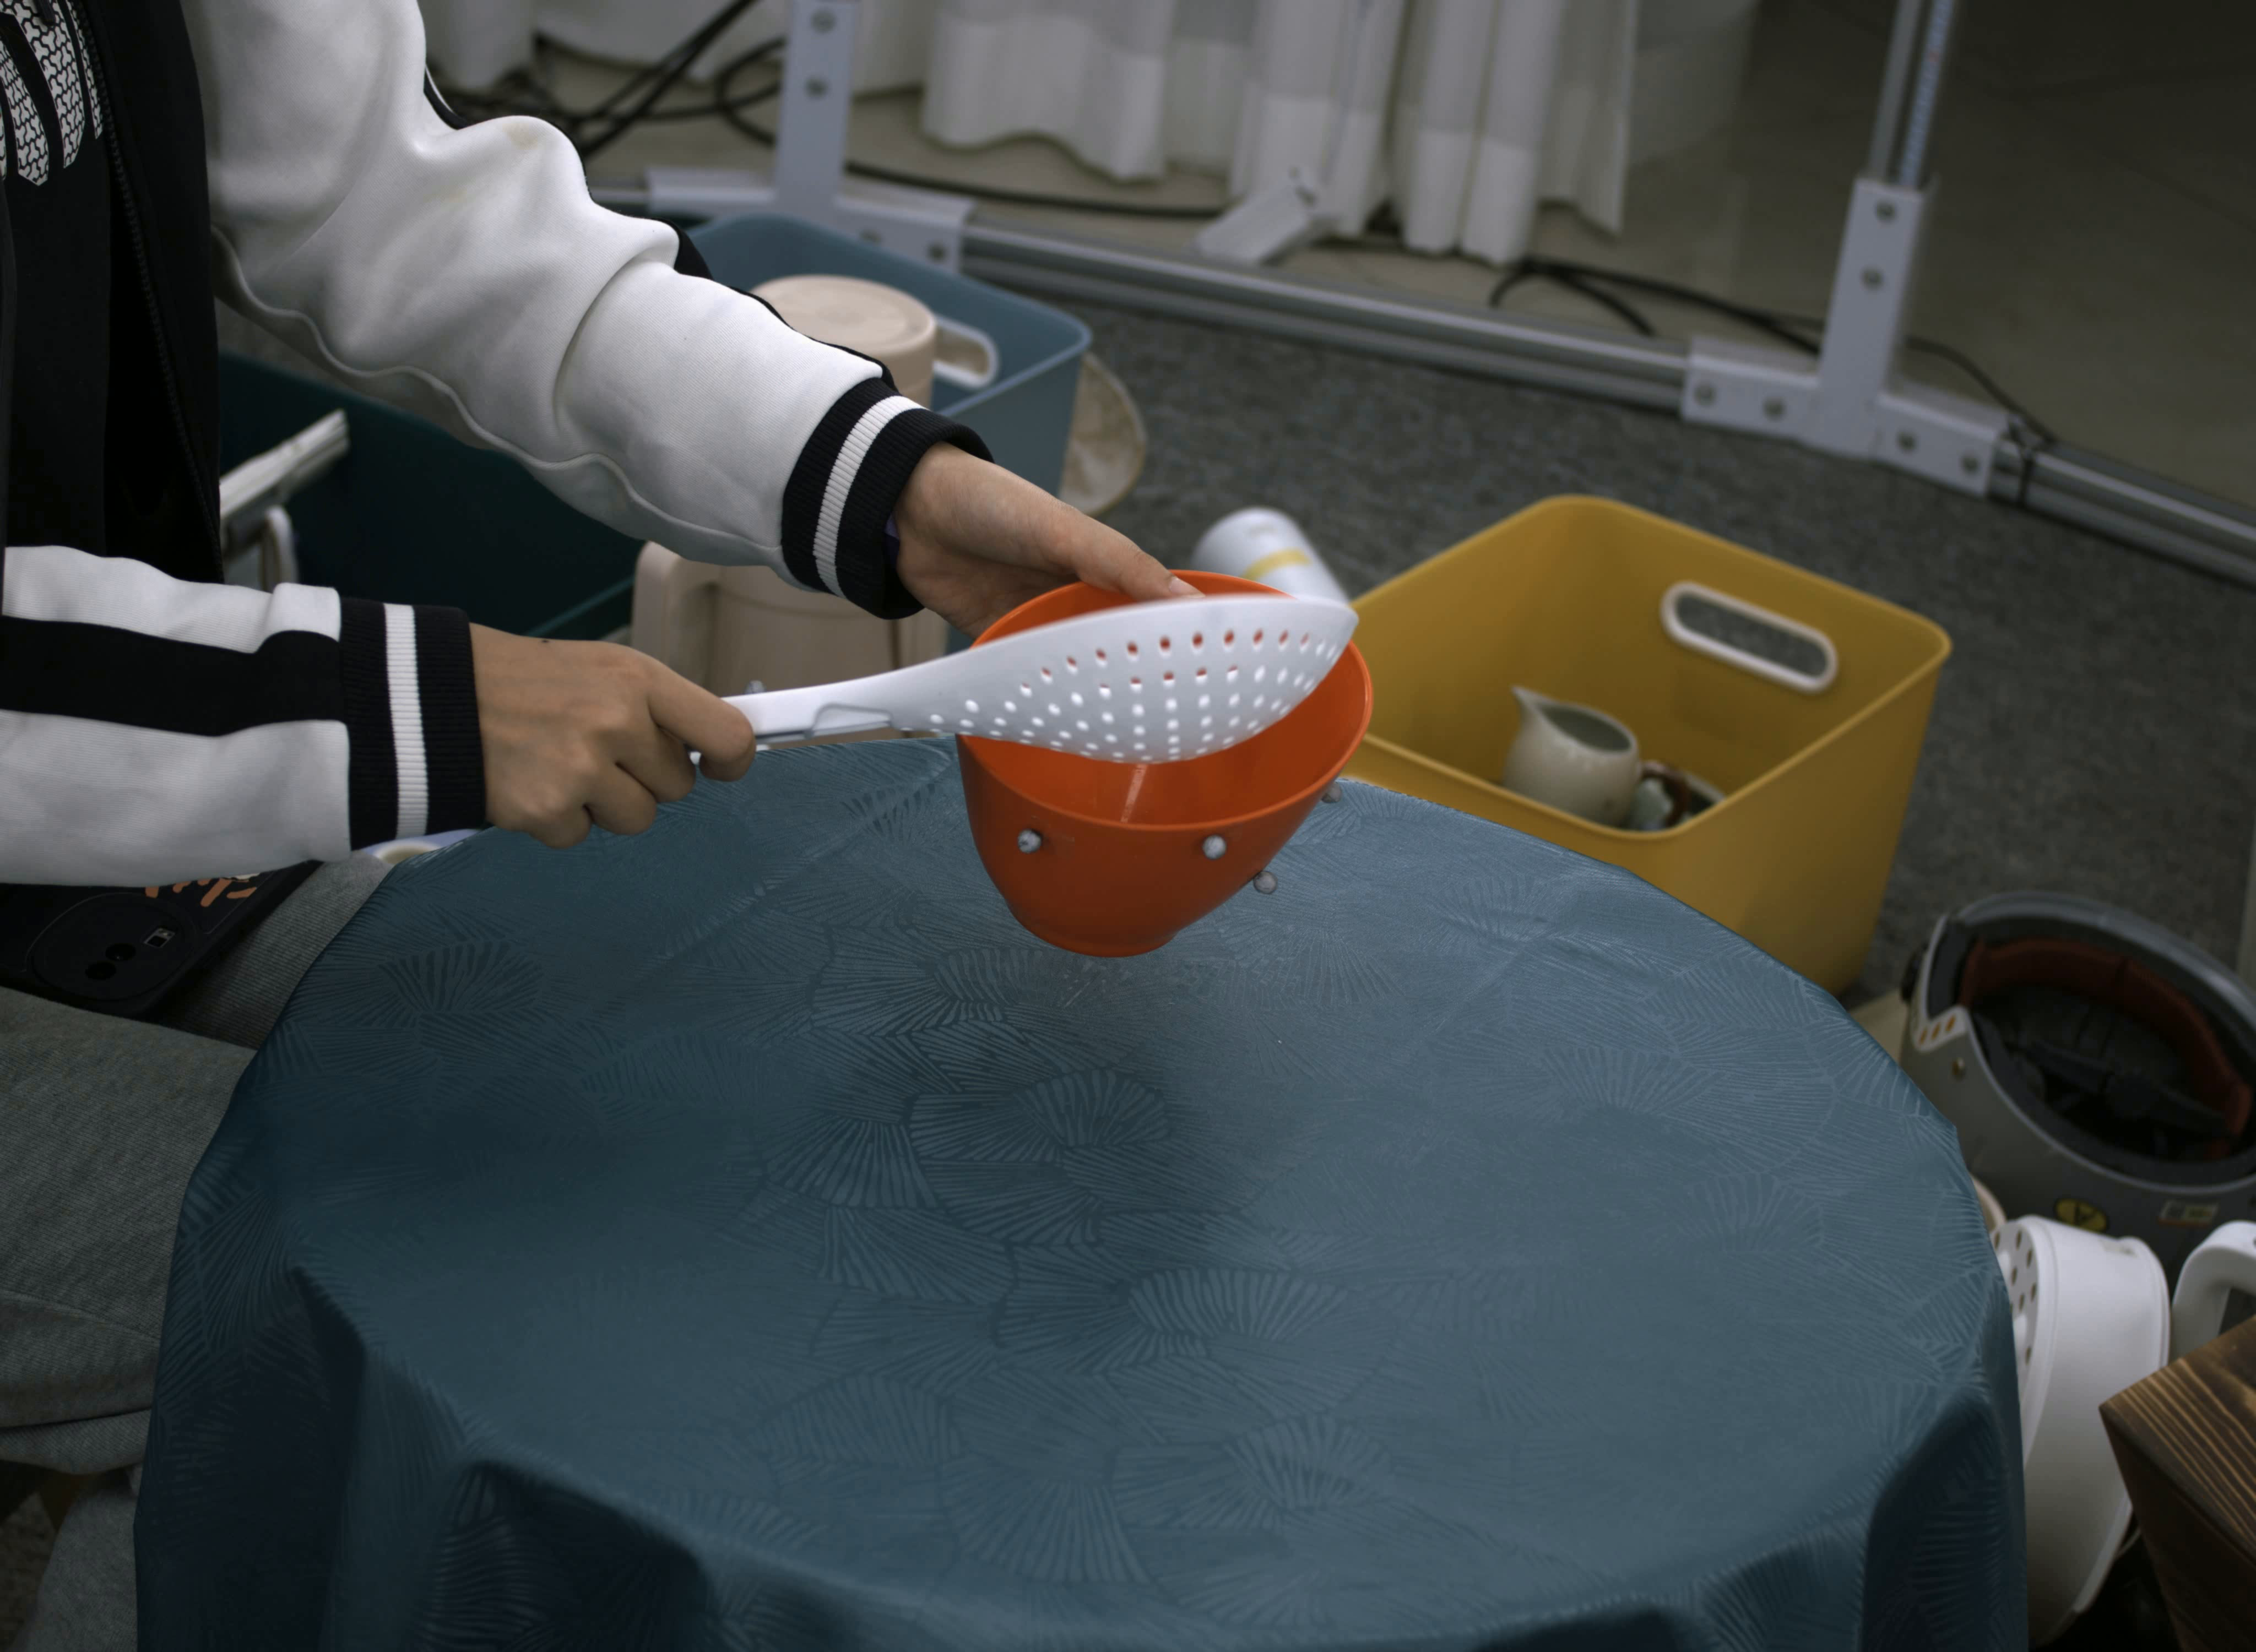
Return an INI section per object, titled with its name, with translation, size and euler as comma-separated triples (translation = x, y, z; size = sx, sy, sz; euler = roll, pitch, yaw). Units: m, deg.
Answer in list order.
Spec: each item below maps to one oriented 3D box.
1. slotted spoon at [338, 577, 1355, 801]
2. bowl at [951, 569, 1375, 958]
[slotted spoon]
translation = -0.096, -0.042, 1.815
size = 0.349, 0.046, 0.135
euler = -3, -13, 1
[bowl]
translation = 0.007, -0.013, 1.895
size = 0.147, 0.104, 0.149
euler = 6, 38, -5
